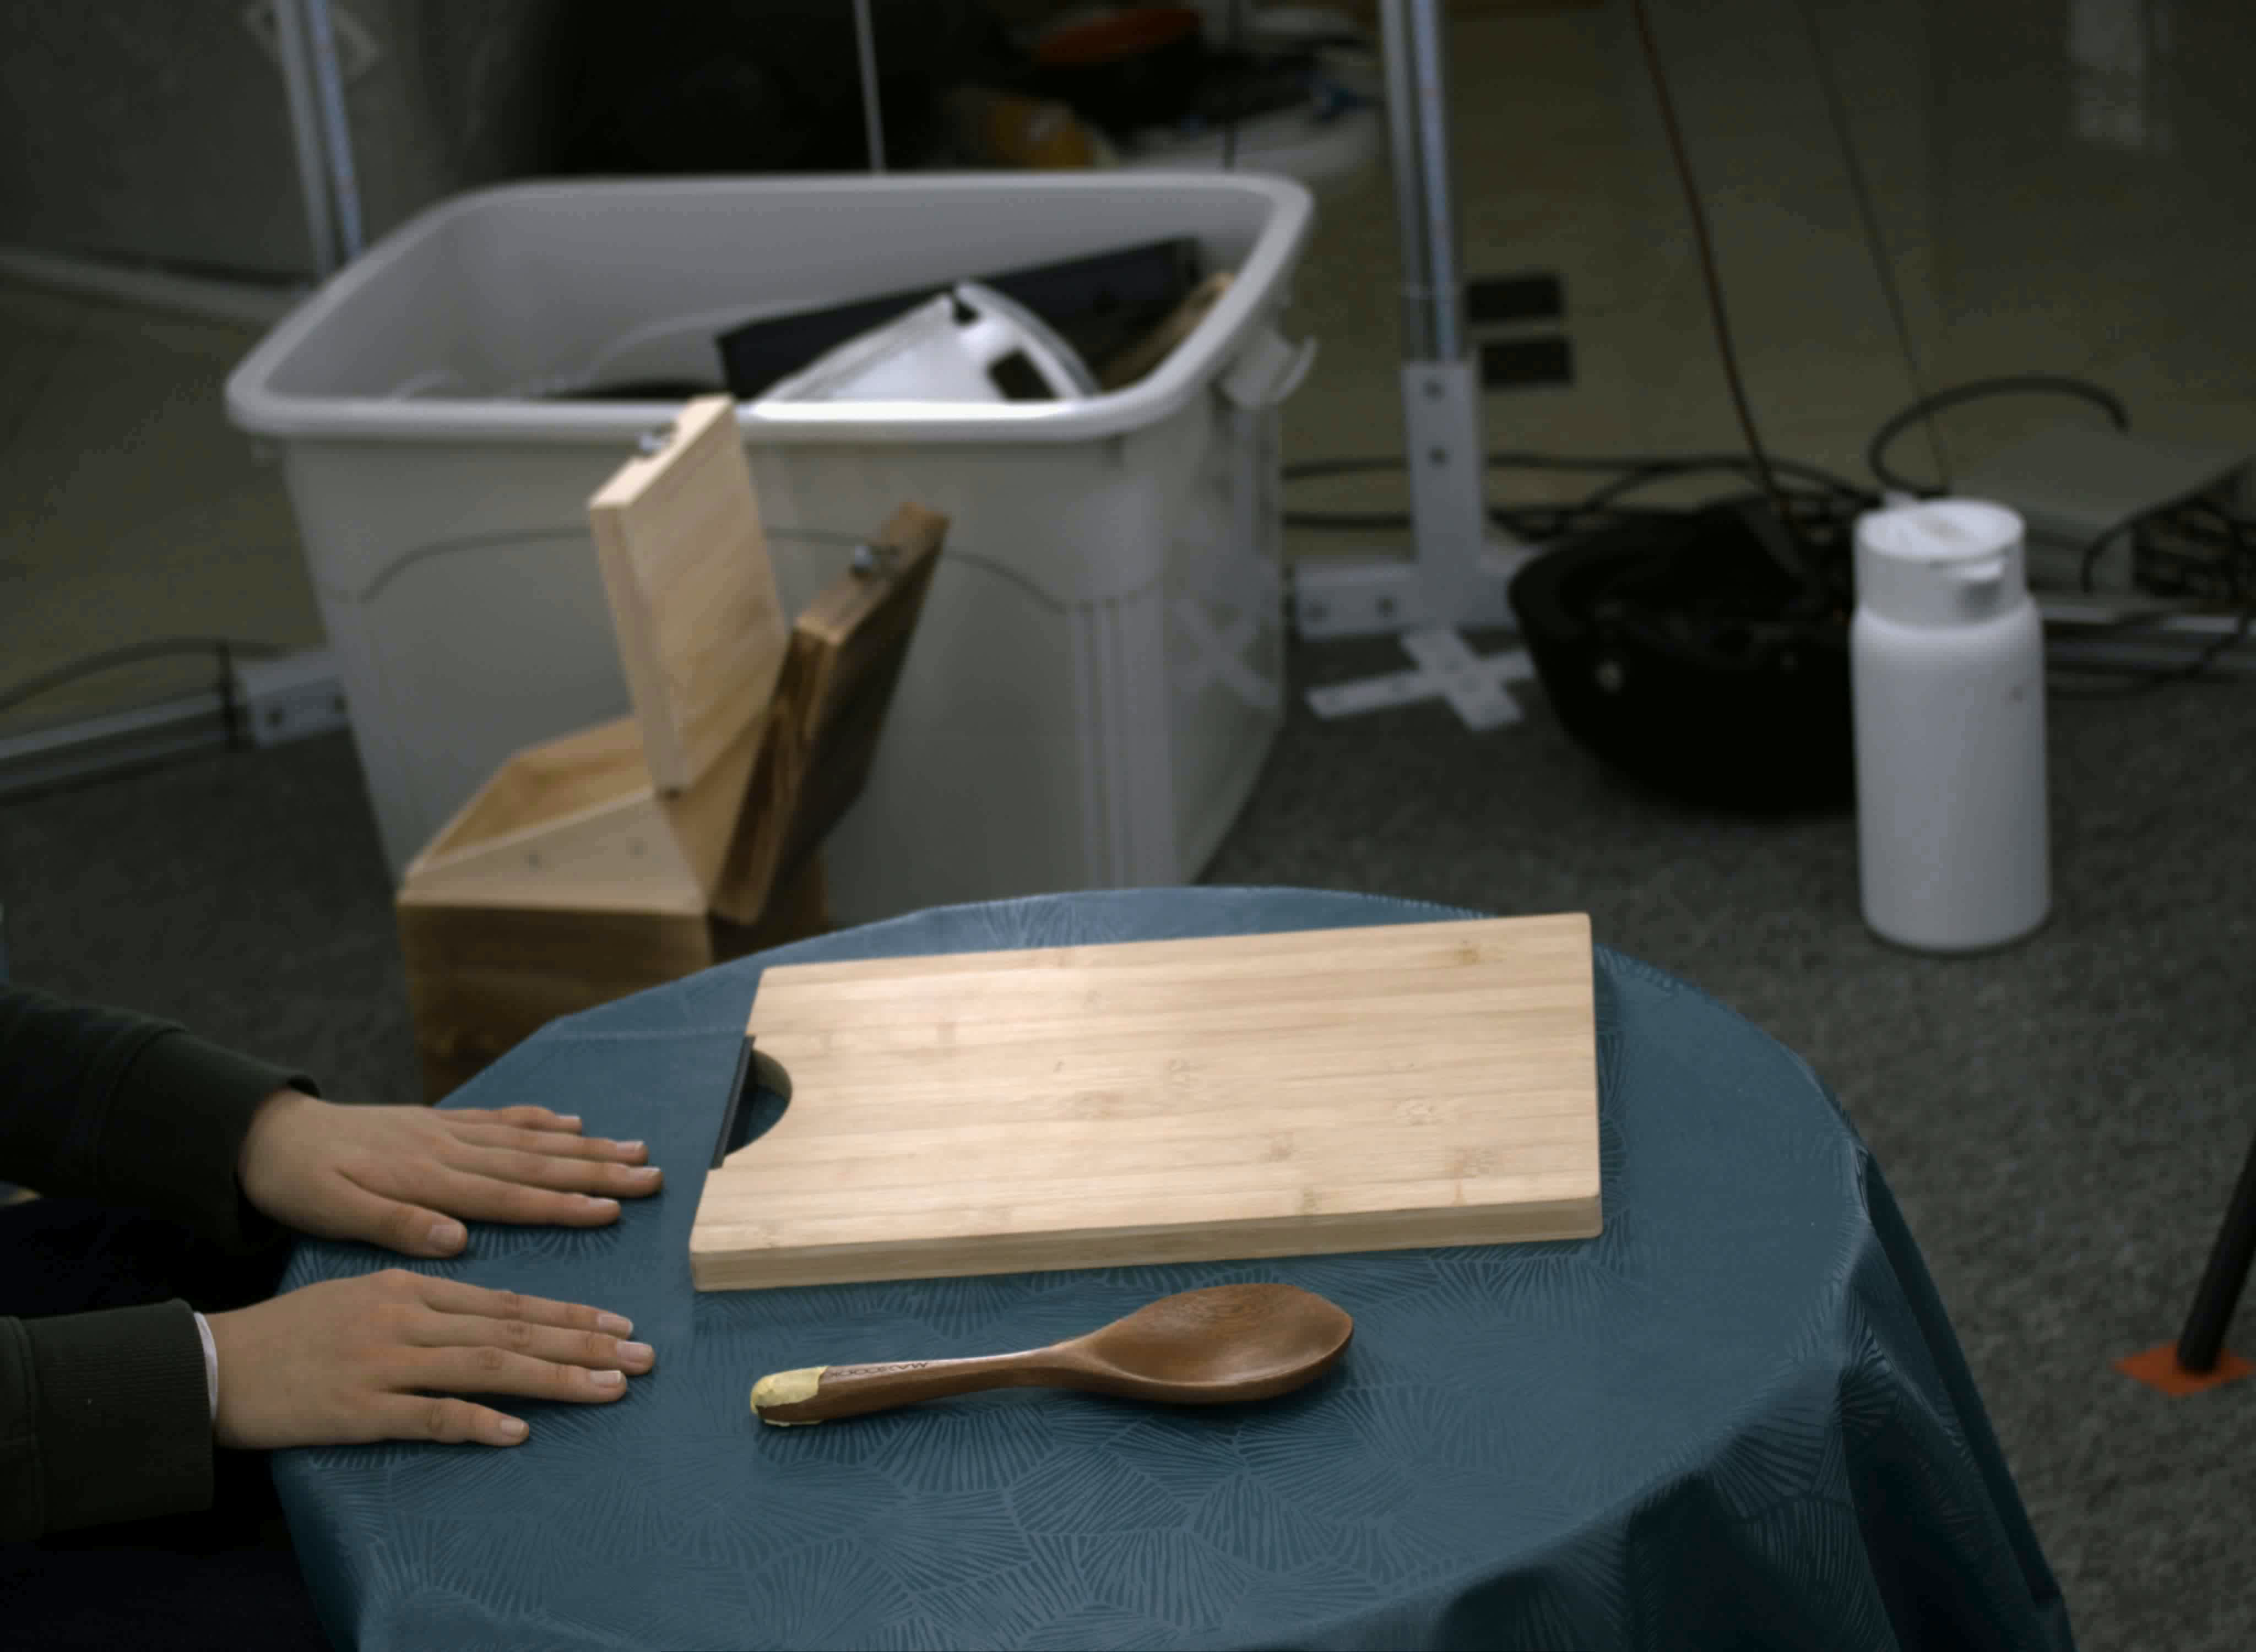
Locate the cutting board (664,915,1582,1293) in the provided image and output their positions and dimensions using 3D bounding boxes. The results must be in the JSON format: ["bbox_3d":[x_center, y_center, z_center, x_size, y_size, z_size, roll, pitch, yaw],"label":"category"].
[{"bbox_3d":[0.006,0.106,2.203,0.348,0.024,0.247,-4,24,5],"label":"cutting board"}]

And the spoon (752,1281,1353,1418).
[{"bbox_3d":[-0.027,0.193,2.023,0.215,0.017,0.074,-5,26,1],"label":"spoon"}]
